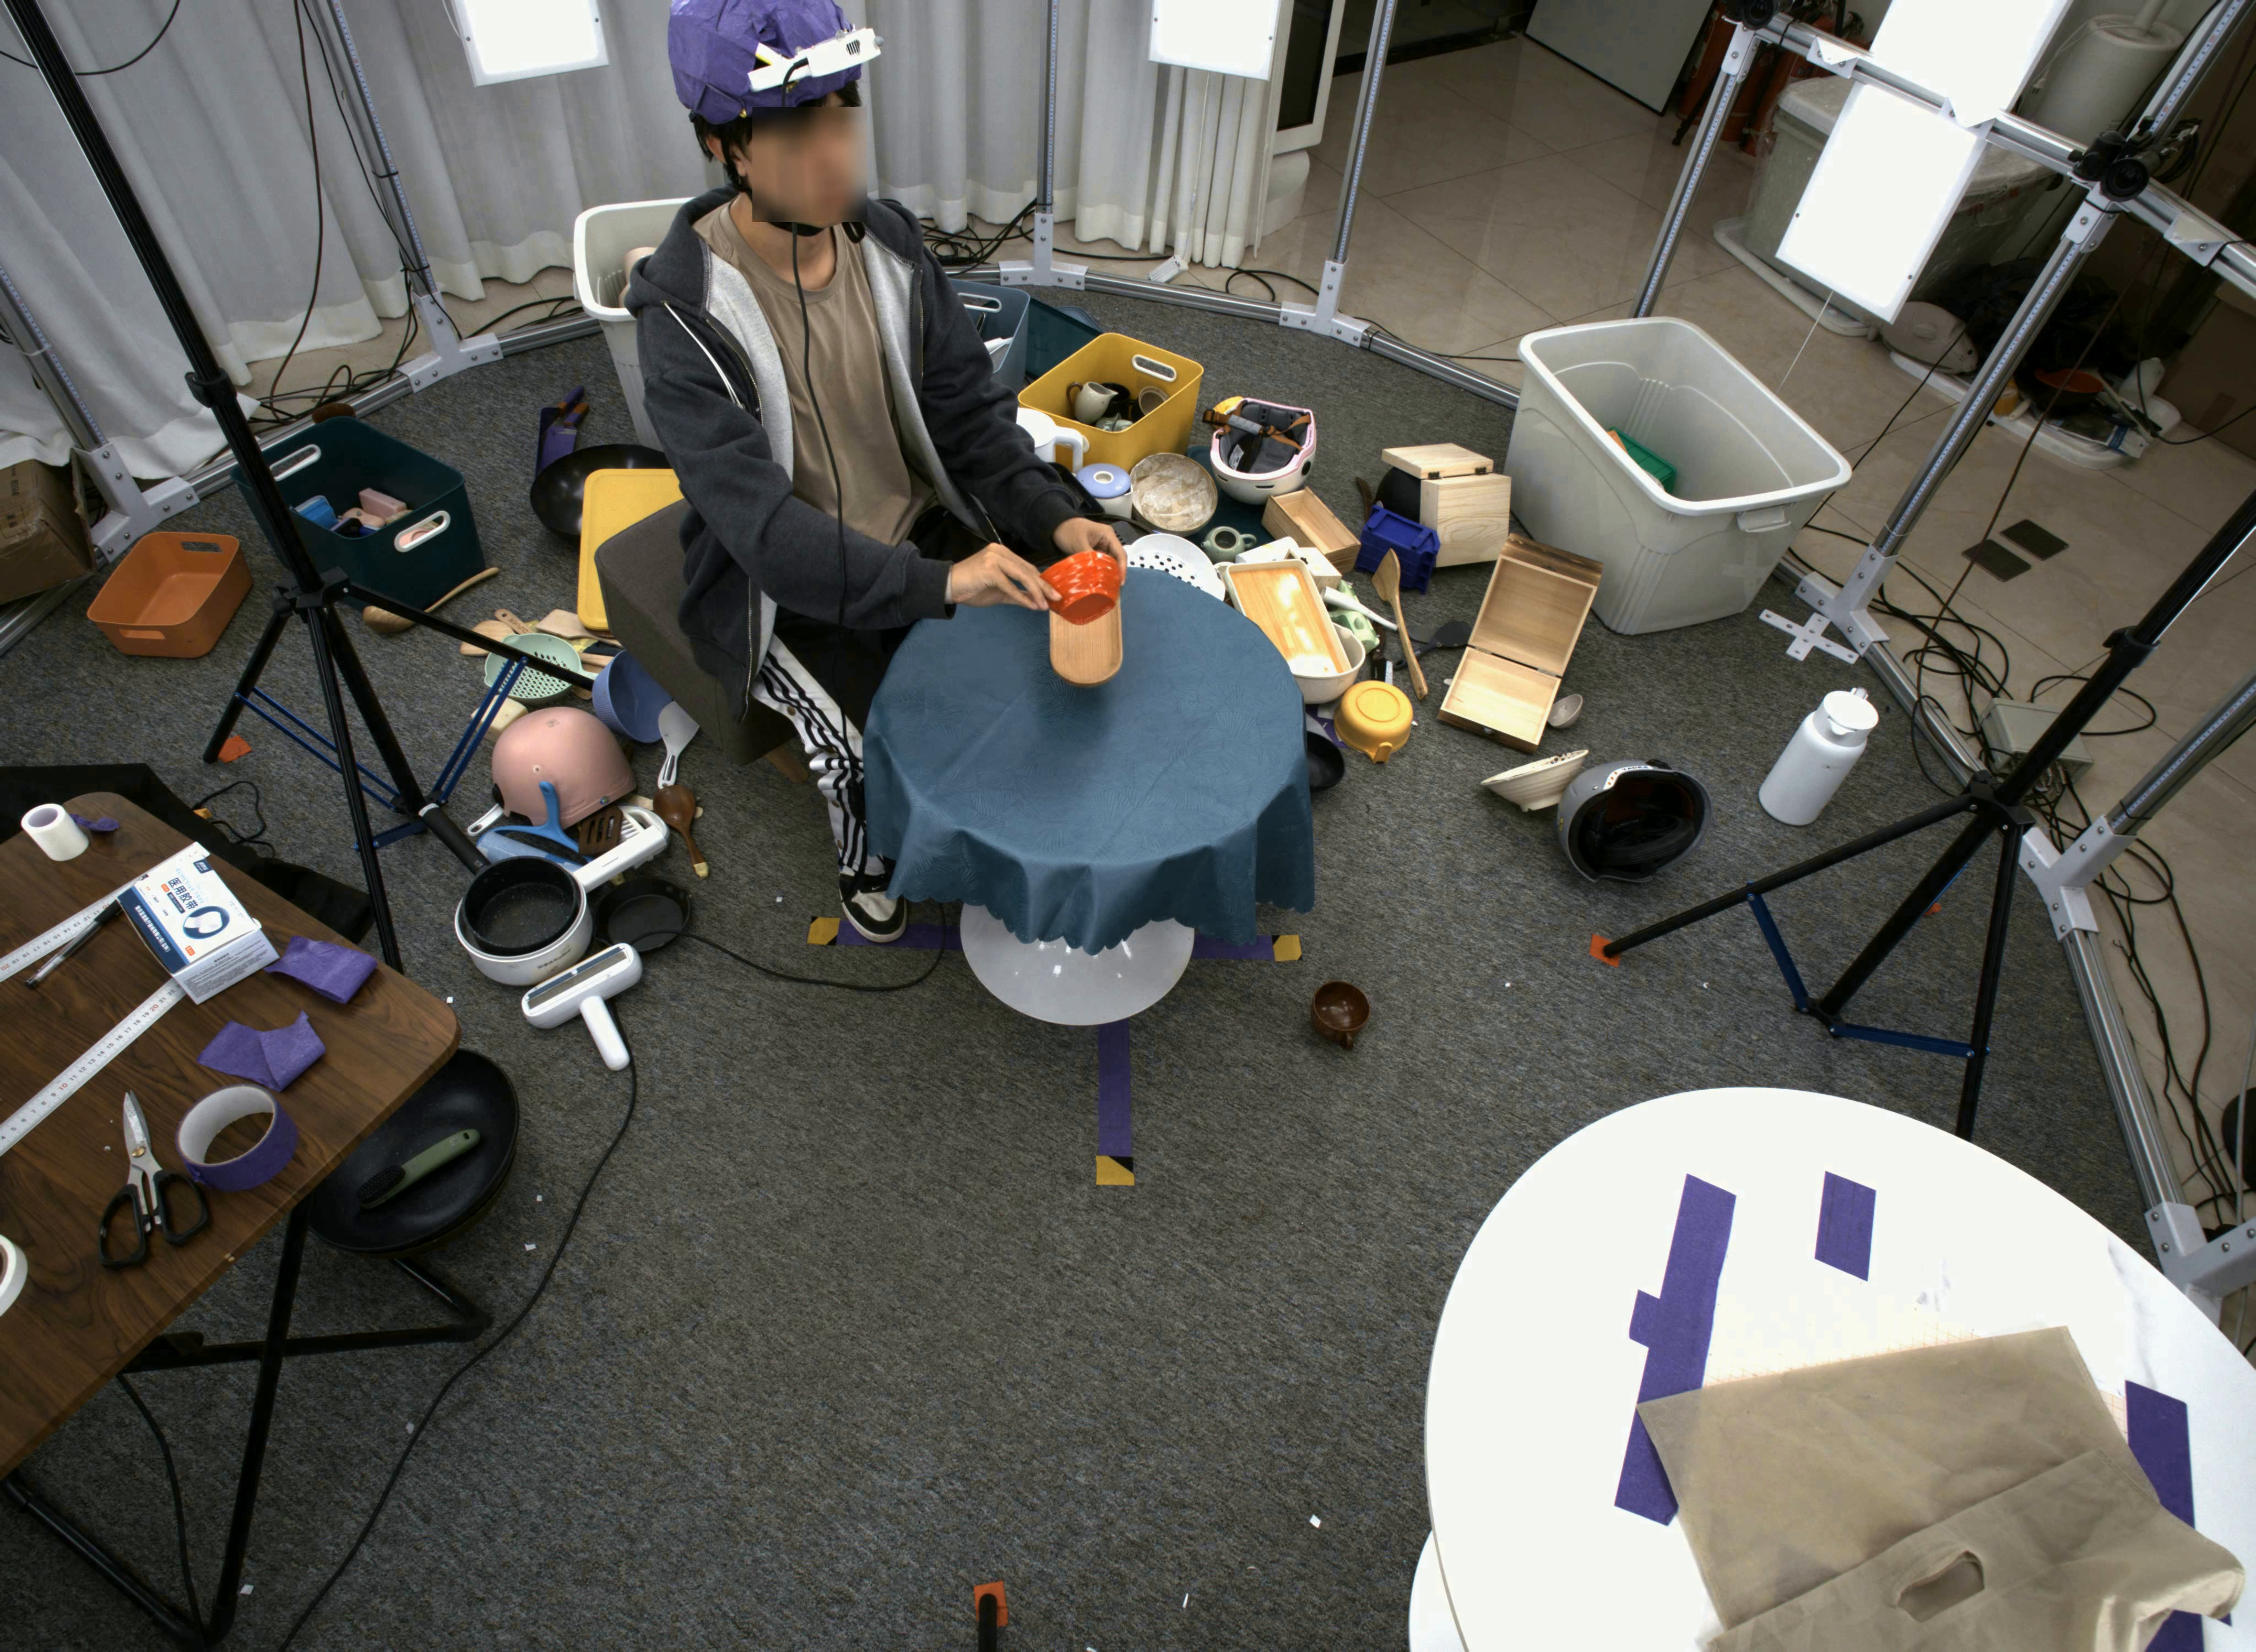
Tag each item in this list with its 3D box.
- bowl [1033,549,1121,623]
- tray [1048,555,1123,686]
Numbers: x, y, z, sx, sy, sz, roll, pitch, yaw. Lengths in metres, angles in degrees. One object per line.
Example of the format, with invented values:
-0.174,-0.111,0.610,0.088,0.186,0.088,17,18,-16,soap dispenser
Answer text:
-0.060,-0.303,1.658,0.119,0.117,0.052,-13,72,-15,bowl
-0.061,-0.292,1.811,0.101,0.020,0.236,-2,56,-4,tray
